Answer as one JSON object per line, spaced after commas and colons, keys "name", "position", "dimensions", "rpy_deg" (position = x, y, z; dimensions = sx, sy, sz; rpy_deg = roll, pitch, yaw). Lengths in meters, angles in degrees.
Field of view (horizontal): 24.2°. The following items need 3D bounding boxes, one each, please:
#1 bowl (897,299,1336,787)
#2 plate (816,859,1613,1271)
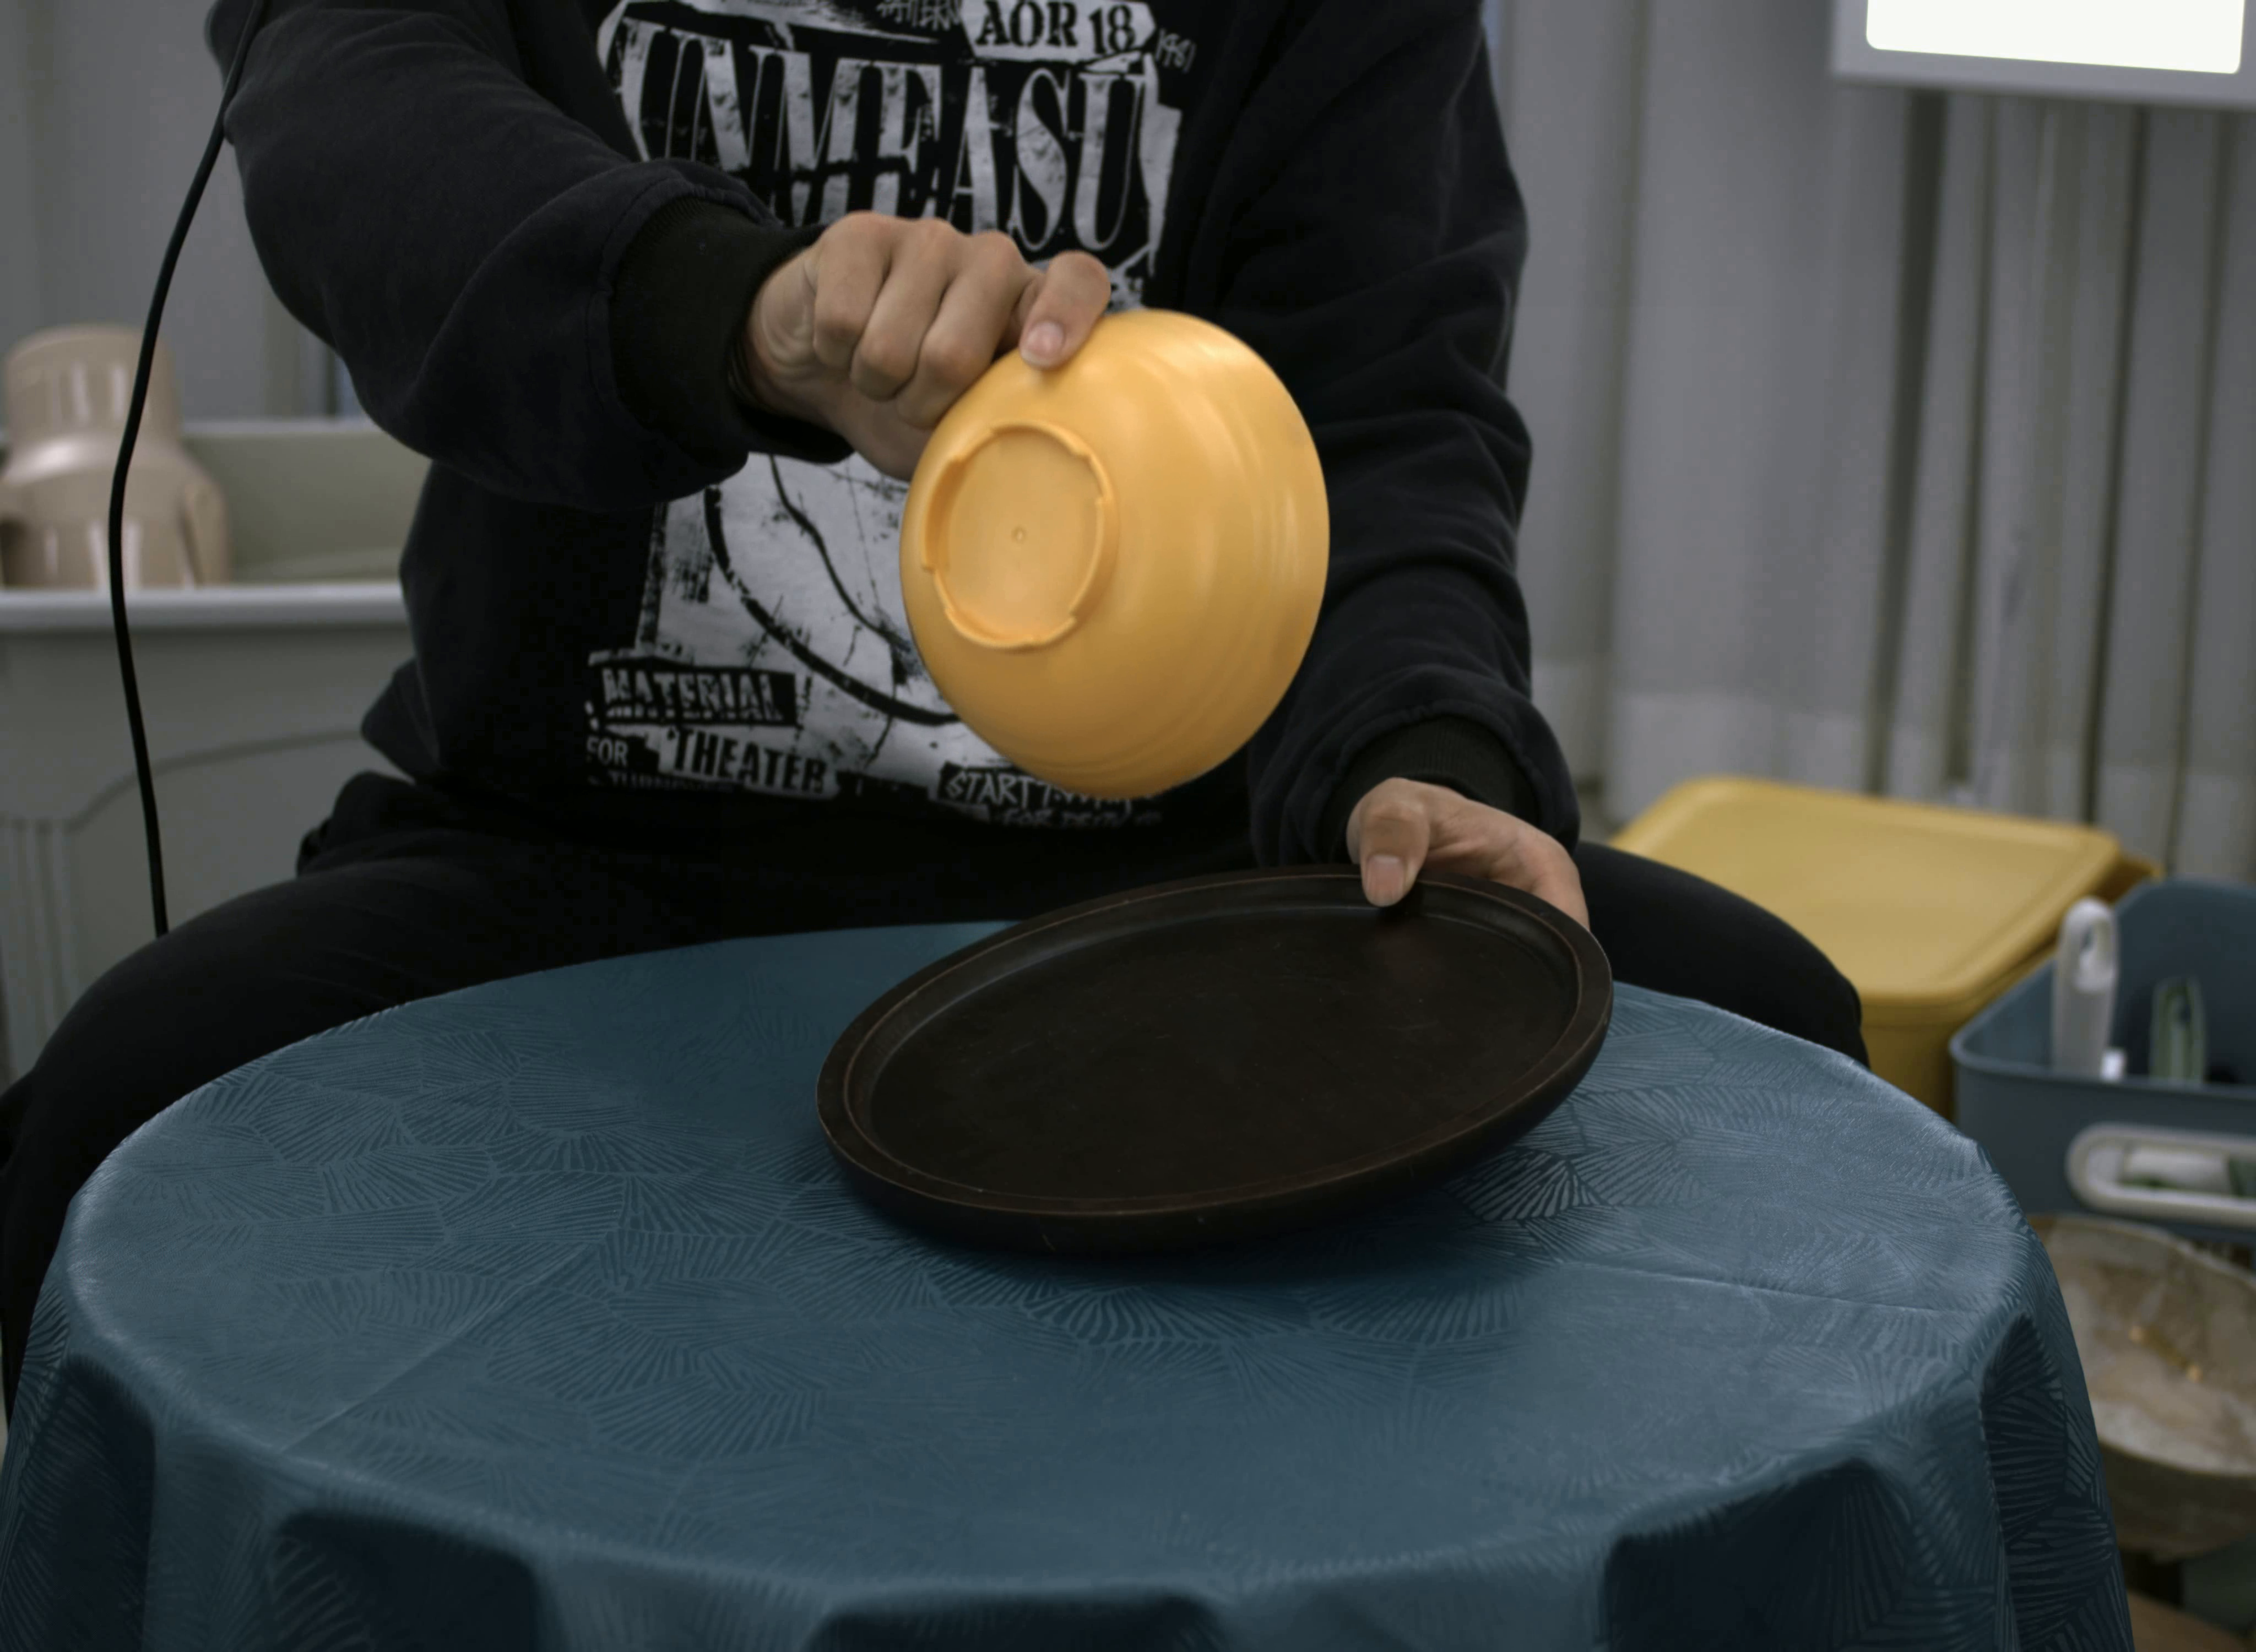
{"name": "bowl", "position": [-0.016, -0.085, 1.519], "dimensions": [0.143, 0.146, 0.060], "rpy_deg": [12, 4, 32]}
{"name": "plate", "position": [0.028, 0.072, 1.649], "dimensions": [0.254, 0.029, 0.253], "rpy_deg": [-10, 22, 5]}
